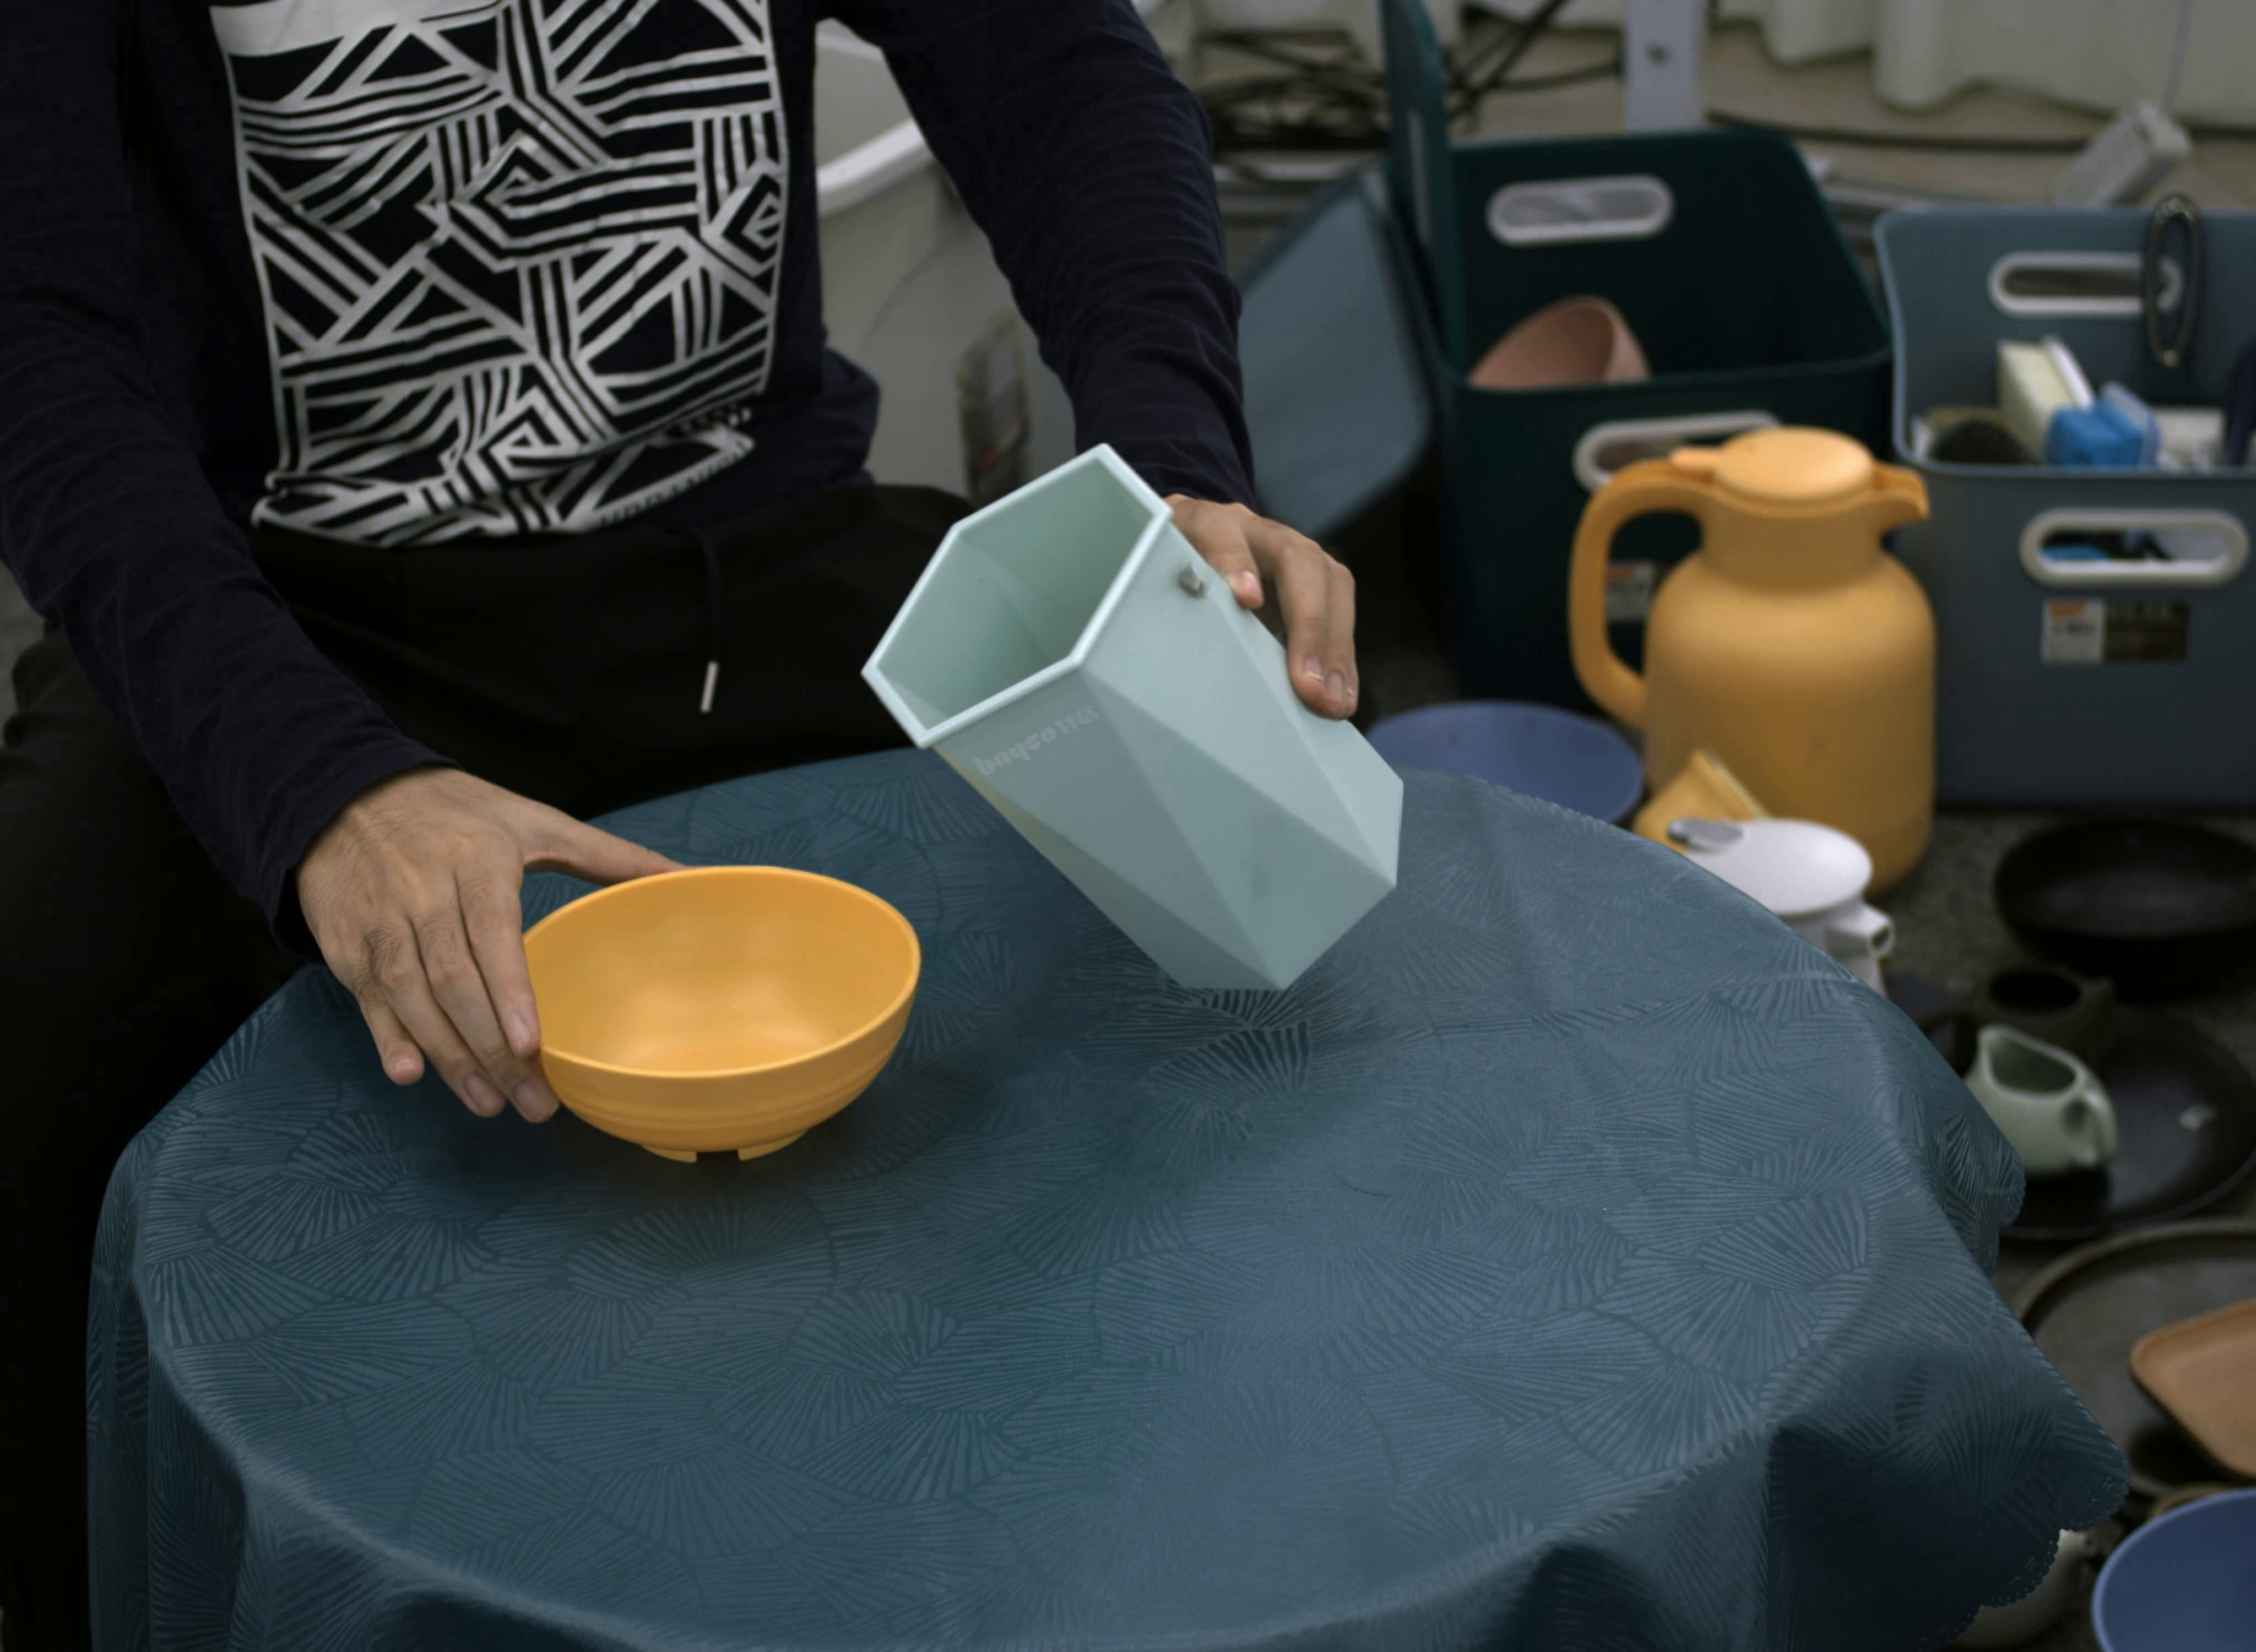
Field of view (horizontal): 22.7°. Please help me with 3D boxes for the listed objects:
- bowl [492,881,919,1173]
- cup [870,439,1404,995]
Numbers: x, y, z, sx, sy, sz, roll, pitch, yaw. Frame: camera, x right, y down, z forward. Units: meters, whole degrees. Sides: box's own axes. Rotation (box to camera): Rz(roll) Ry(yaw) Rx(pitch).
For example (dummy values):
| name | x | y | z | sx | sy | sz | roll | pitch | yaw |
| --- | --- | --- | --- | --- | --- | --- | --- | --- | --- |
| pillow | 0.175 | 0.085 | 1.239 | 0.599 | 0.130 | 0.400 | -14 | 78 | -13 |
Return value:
| name | x | y | z | sx | sy | sz | roll | pitch | yaw |
| --- | --- | --- | --- | --- | --- | --- | --- | --- | --- |
| bowl | -0.141 | 0.076 | 1.904 | 0.144 | 0.059 | 0.147 | -2 | 25 | 1 |
| cup | 0.012 | -0.029 | 1.907 | 0.129 | 0.162 | 0.117 | -27 | 32 | 24 |
